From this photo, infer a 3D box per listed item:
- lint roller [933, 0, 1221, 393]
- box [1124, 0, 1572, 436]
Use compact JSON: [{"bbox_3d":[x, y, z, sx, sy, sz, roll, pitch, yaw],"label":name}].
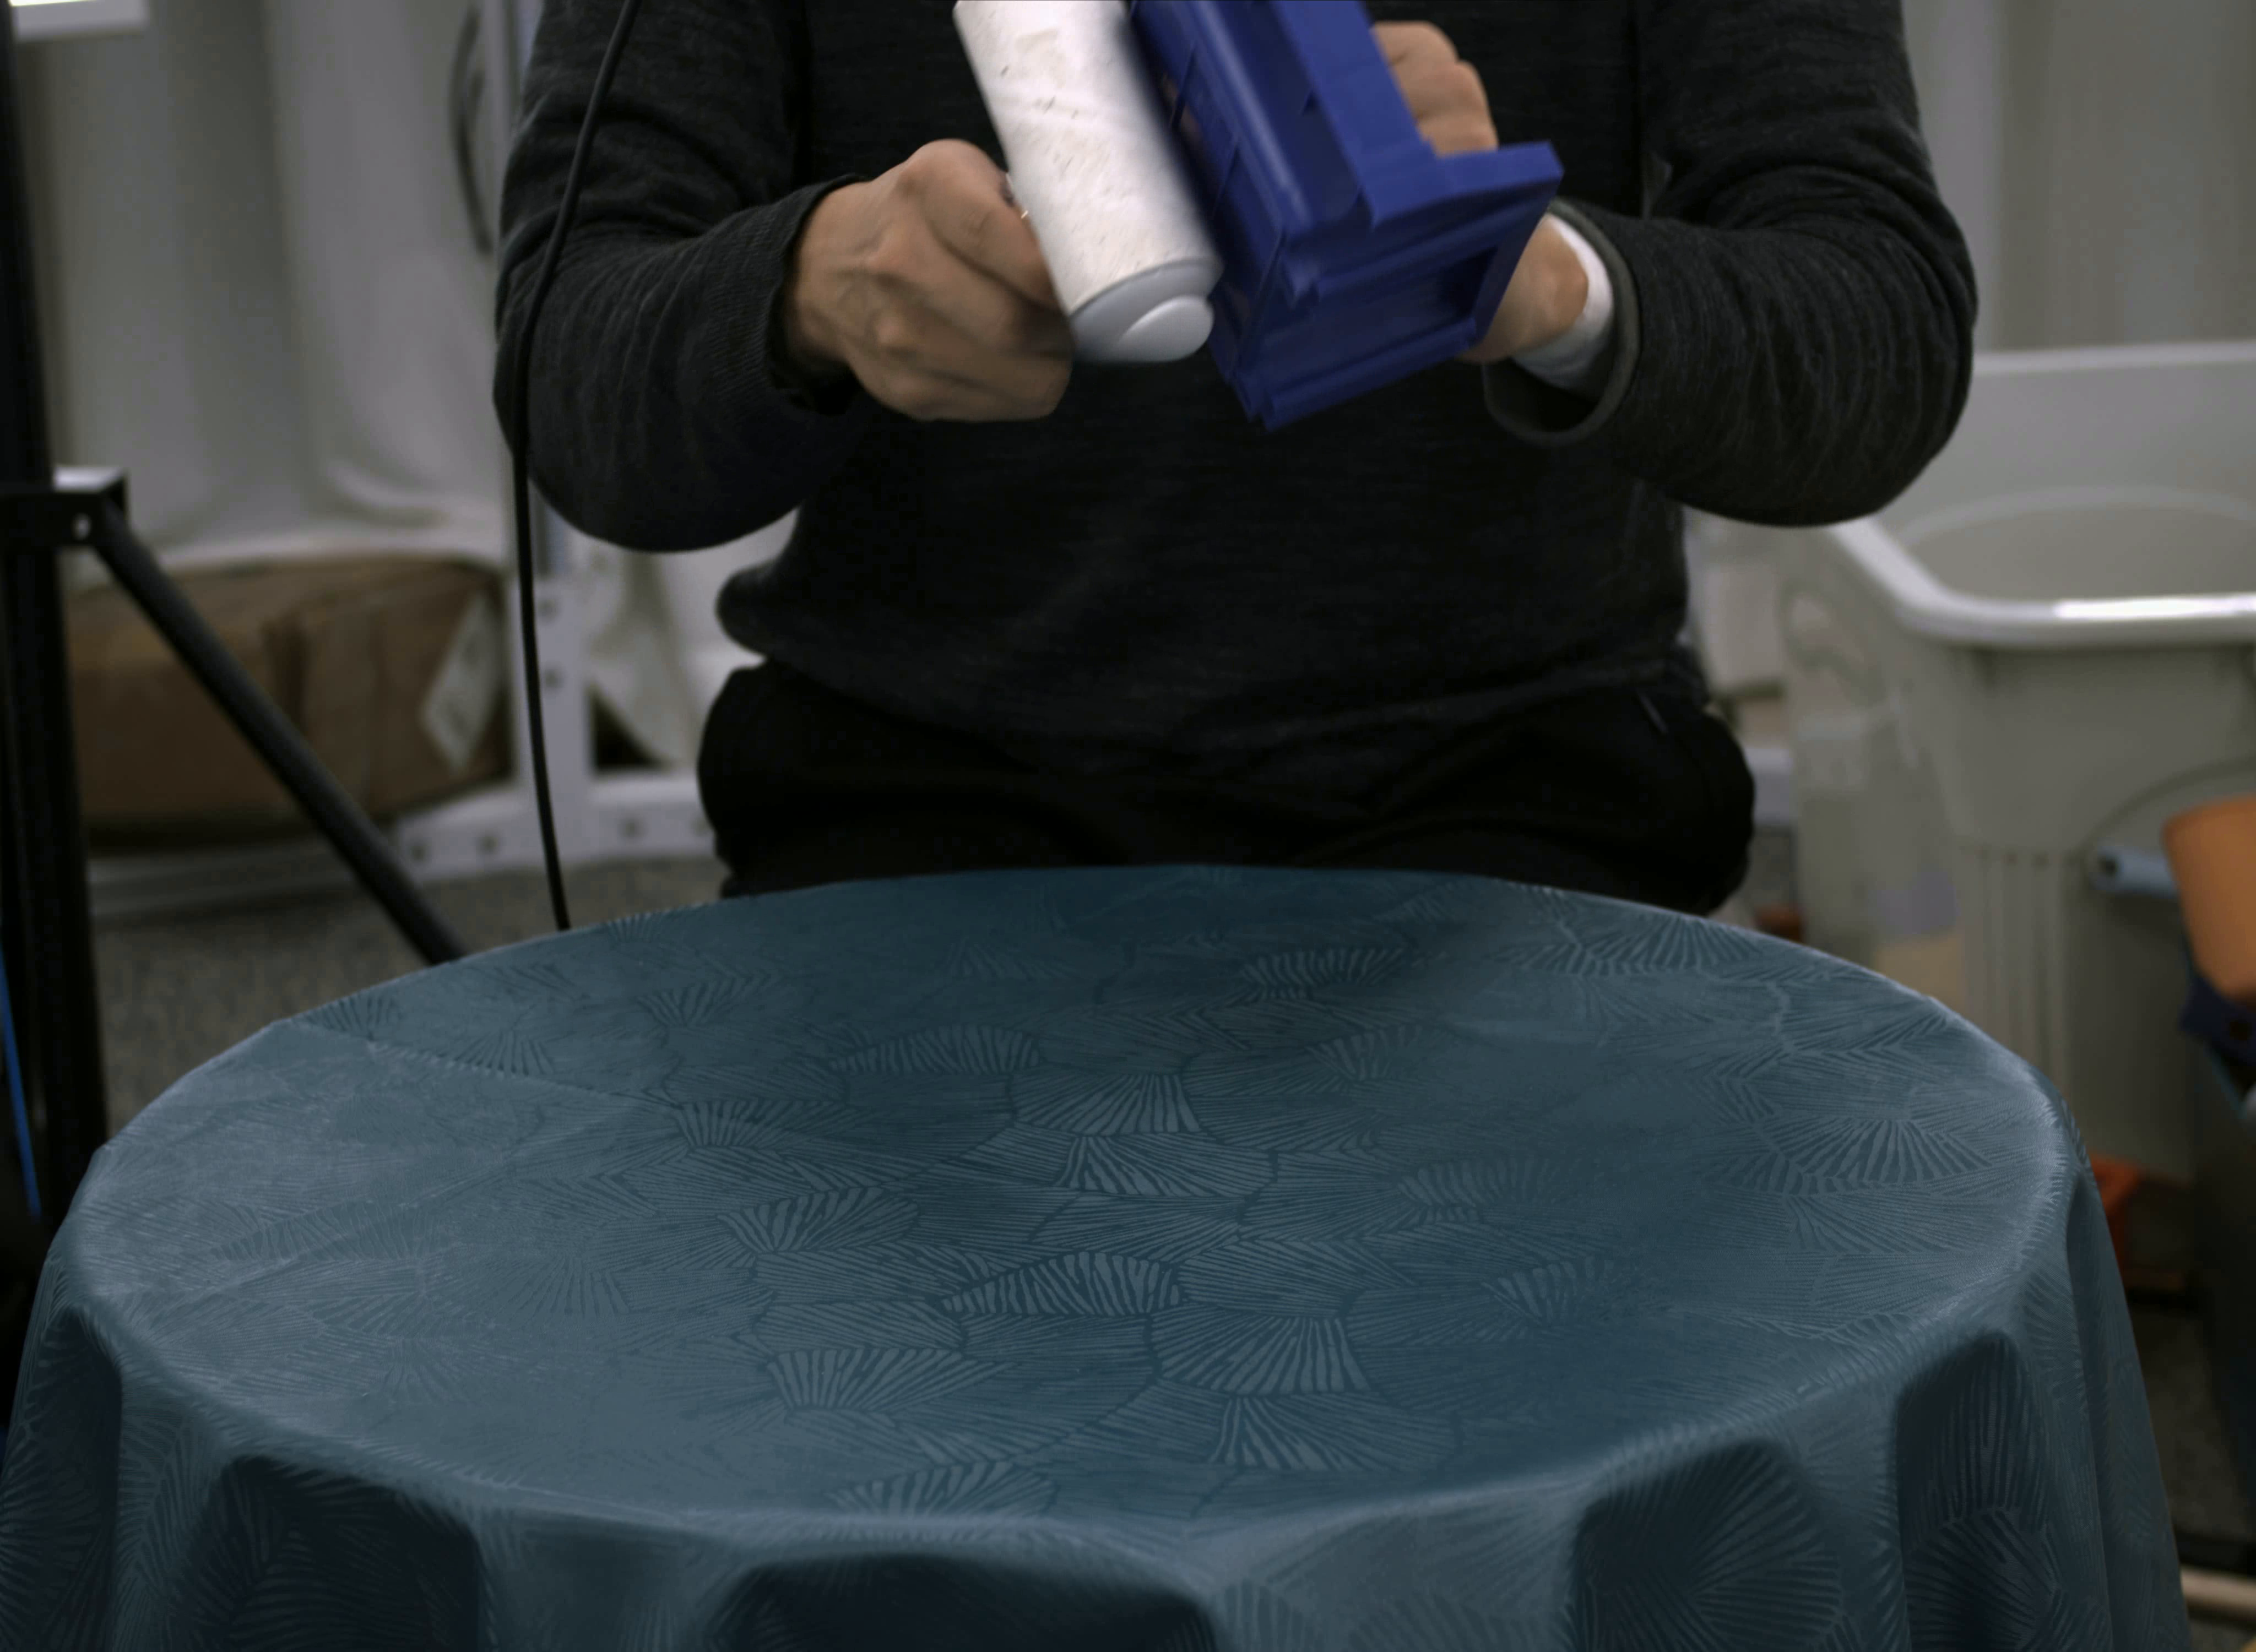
[{"bbox_3d":[-0.037,-0.171,1.561,0.049,0.134,0.183,-14,-13,-28],"label":"lint roller"},{"bbox_3d":[0.056,-0.200,1.504,0.081,0.126,0.179,-22,-12,-12],"label":"box"}]
